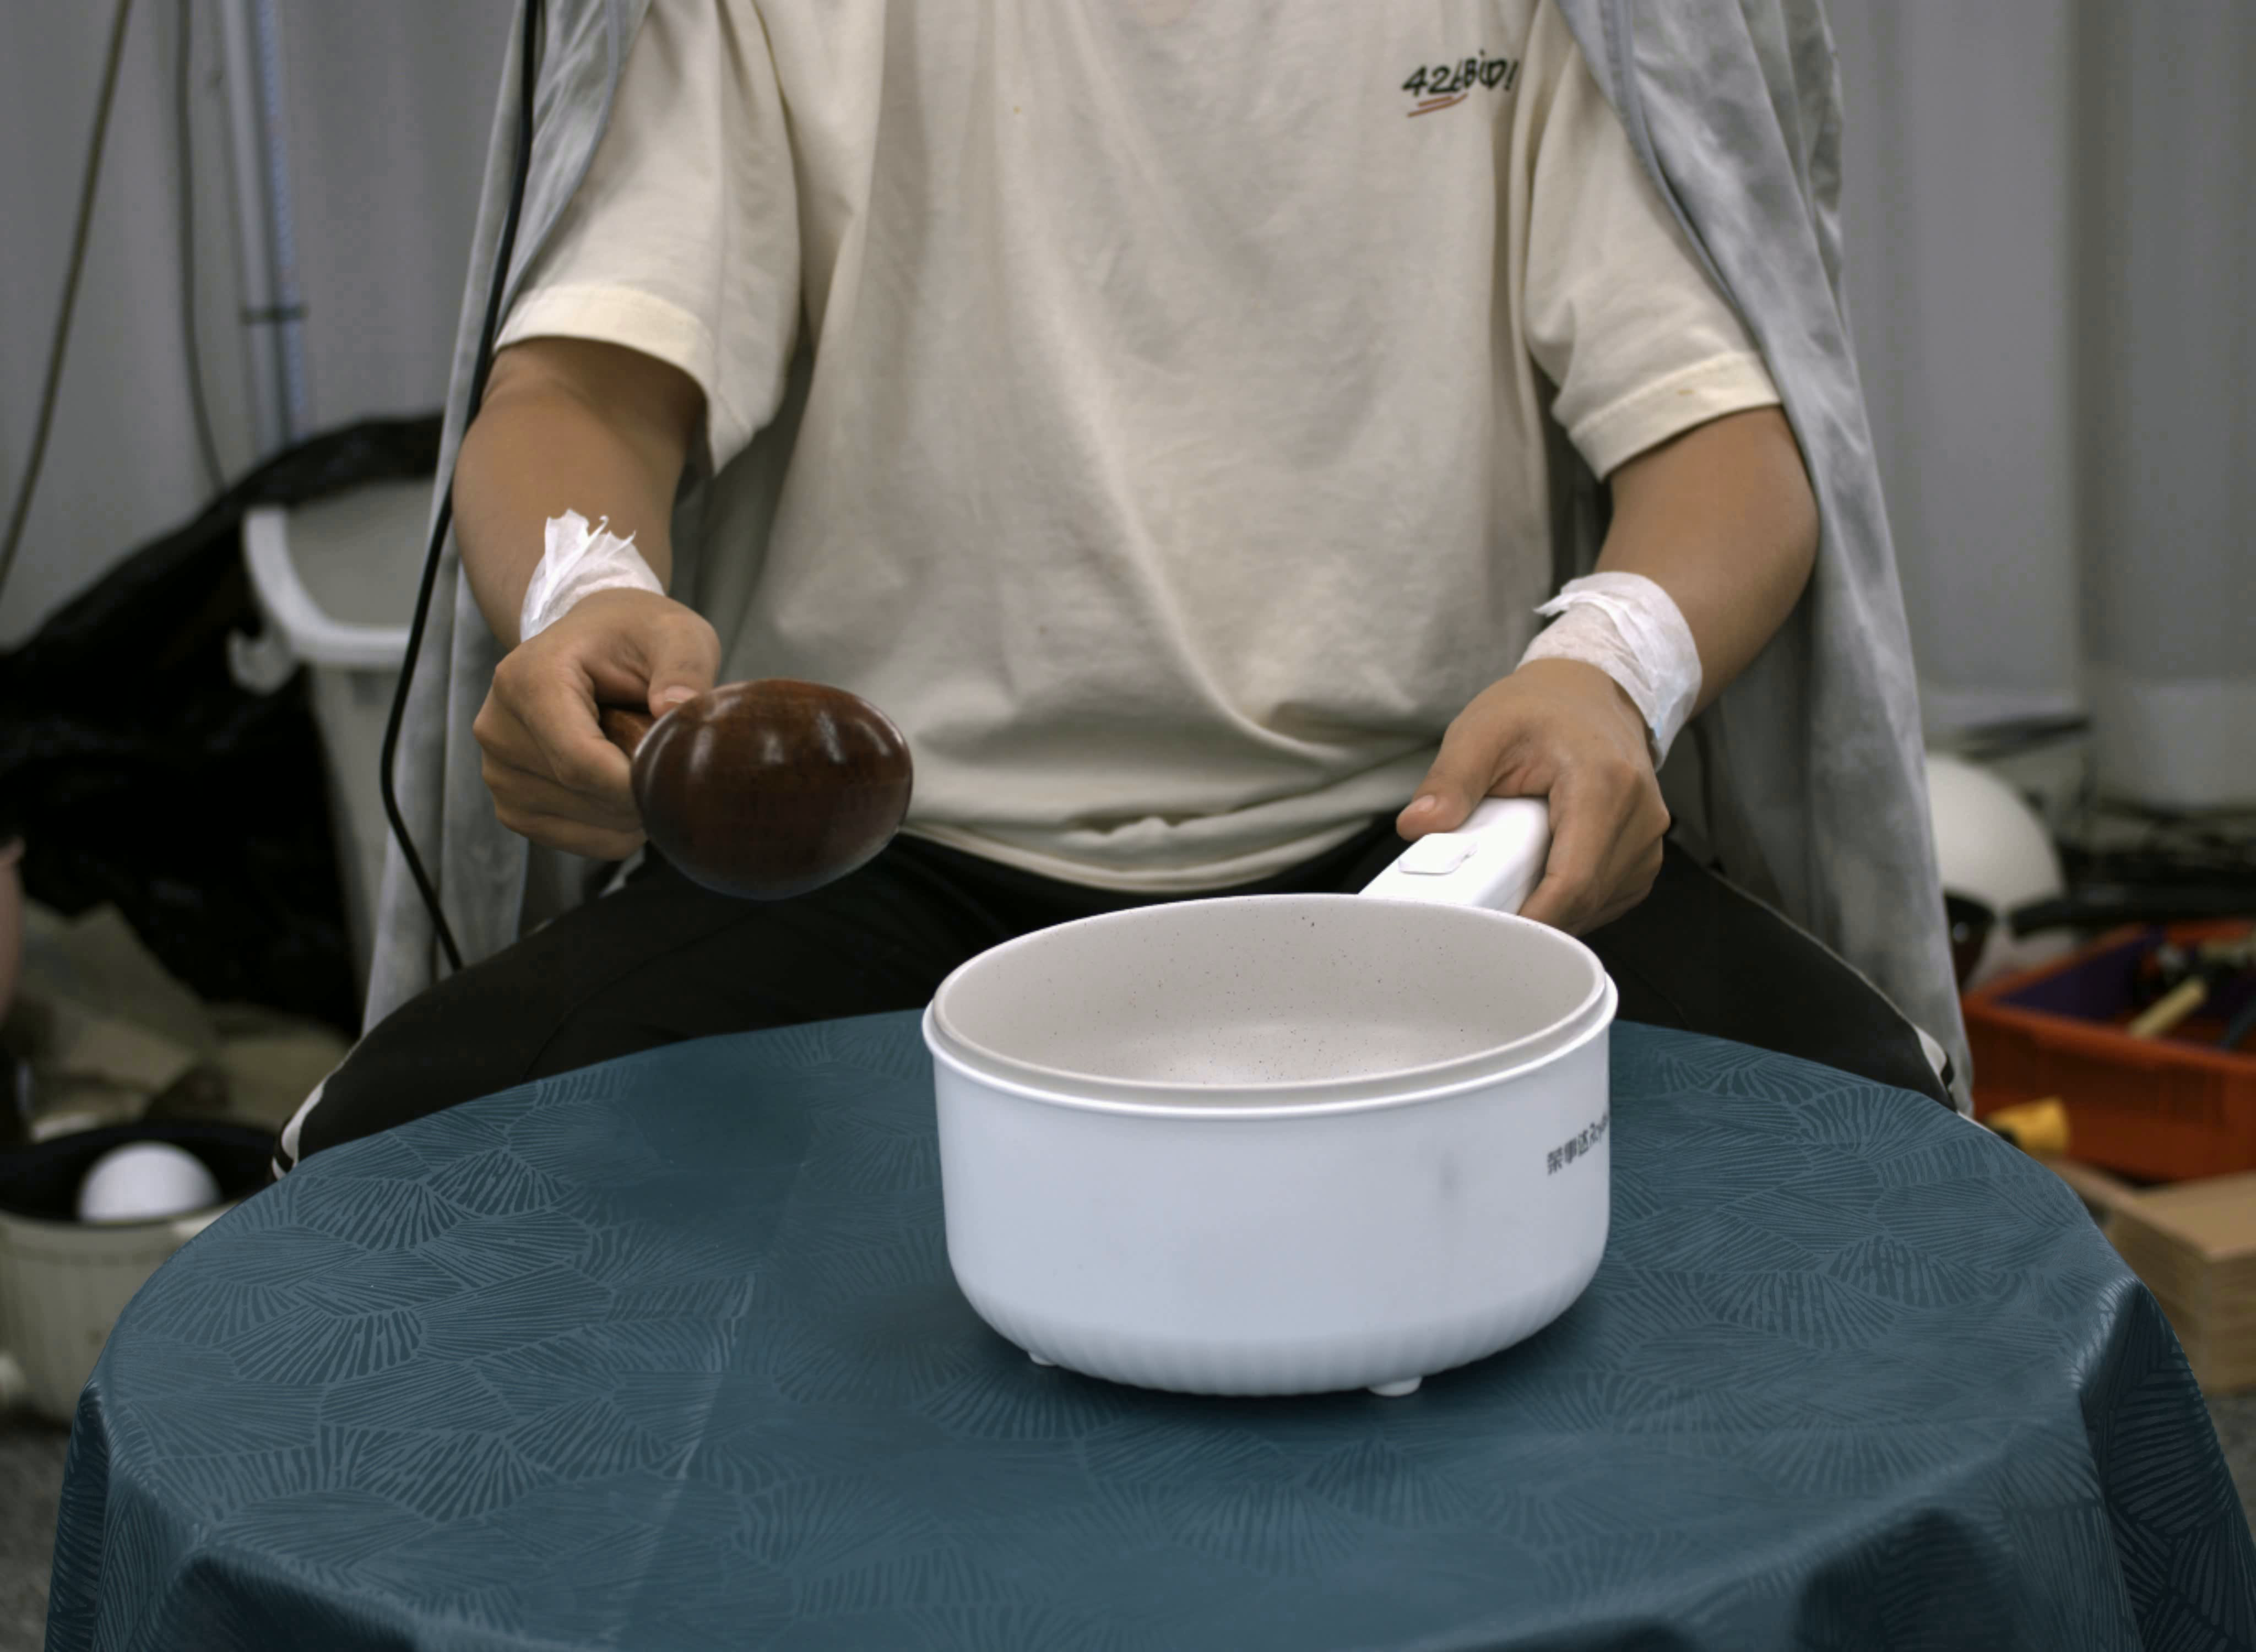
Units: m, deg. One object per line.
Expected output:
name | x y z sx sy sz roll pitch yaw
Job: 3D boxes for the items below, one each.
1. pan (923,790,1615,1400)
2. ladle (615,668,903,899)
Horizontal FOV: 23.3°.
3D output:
pan | 0.071 0.077 1.661 0.201 0.102 0.356 2 15 21
ladle | -0.126 -0.034 1.660 0.081 0.076 0.276 17 9 -14
